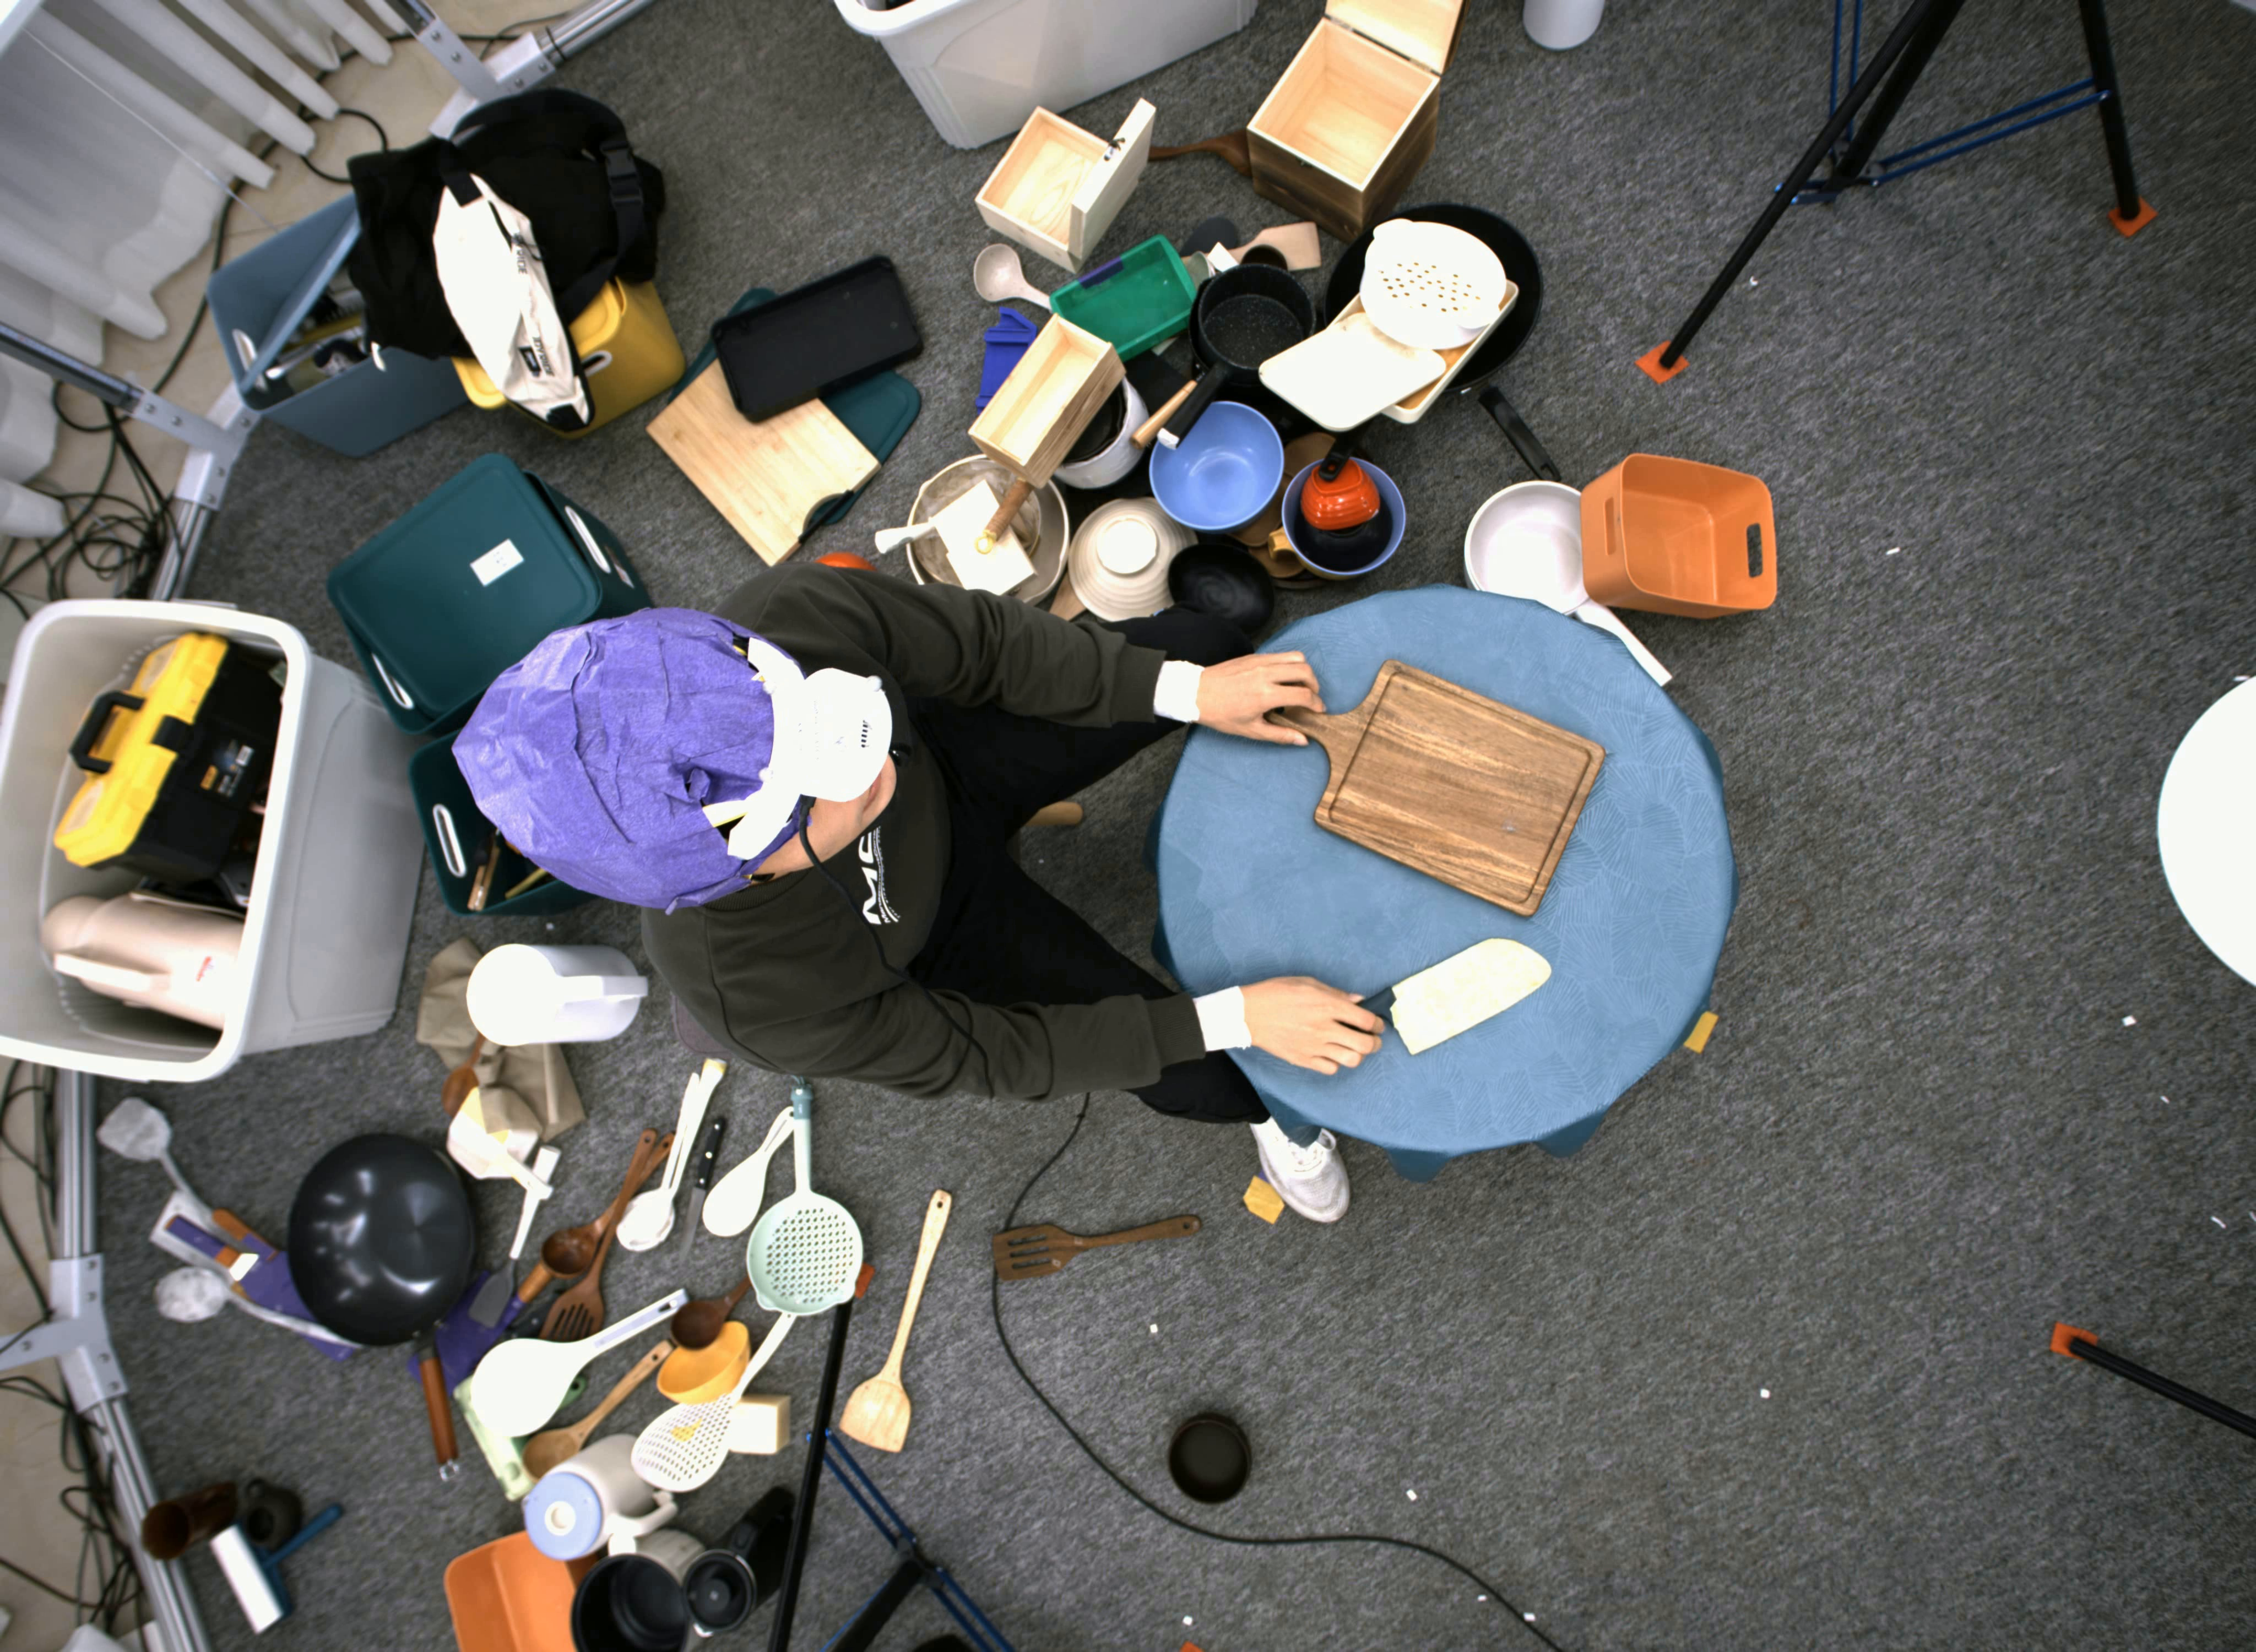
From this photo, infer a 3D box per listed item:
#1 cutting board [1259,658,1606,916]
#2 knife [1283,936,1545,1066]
[{"bbox_3d":[0.302,-0.064,1.451,0.352,0.023,0.201,24,91,11],"label":"cutting board"},{"bbox_3d":[0.300,0.192,1.440,0.291,0.027,0.080,-25,82,8],"label":"knife"}]
